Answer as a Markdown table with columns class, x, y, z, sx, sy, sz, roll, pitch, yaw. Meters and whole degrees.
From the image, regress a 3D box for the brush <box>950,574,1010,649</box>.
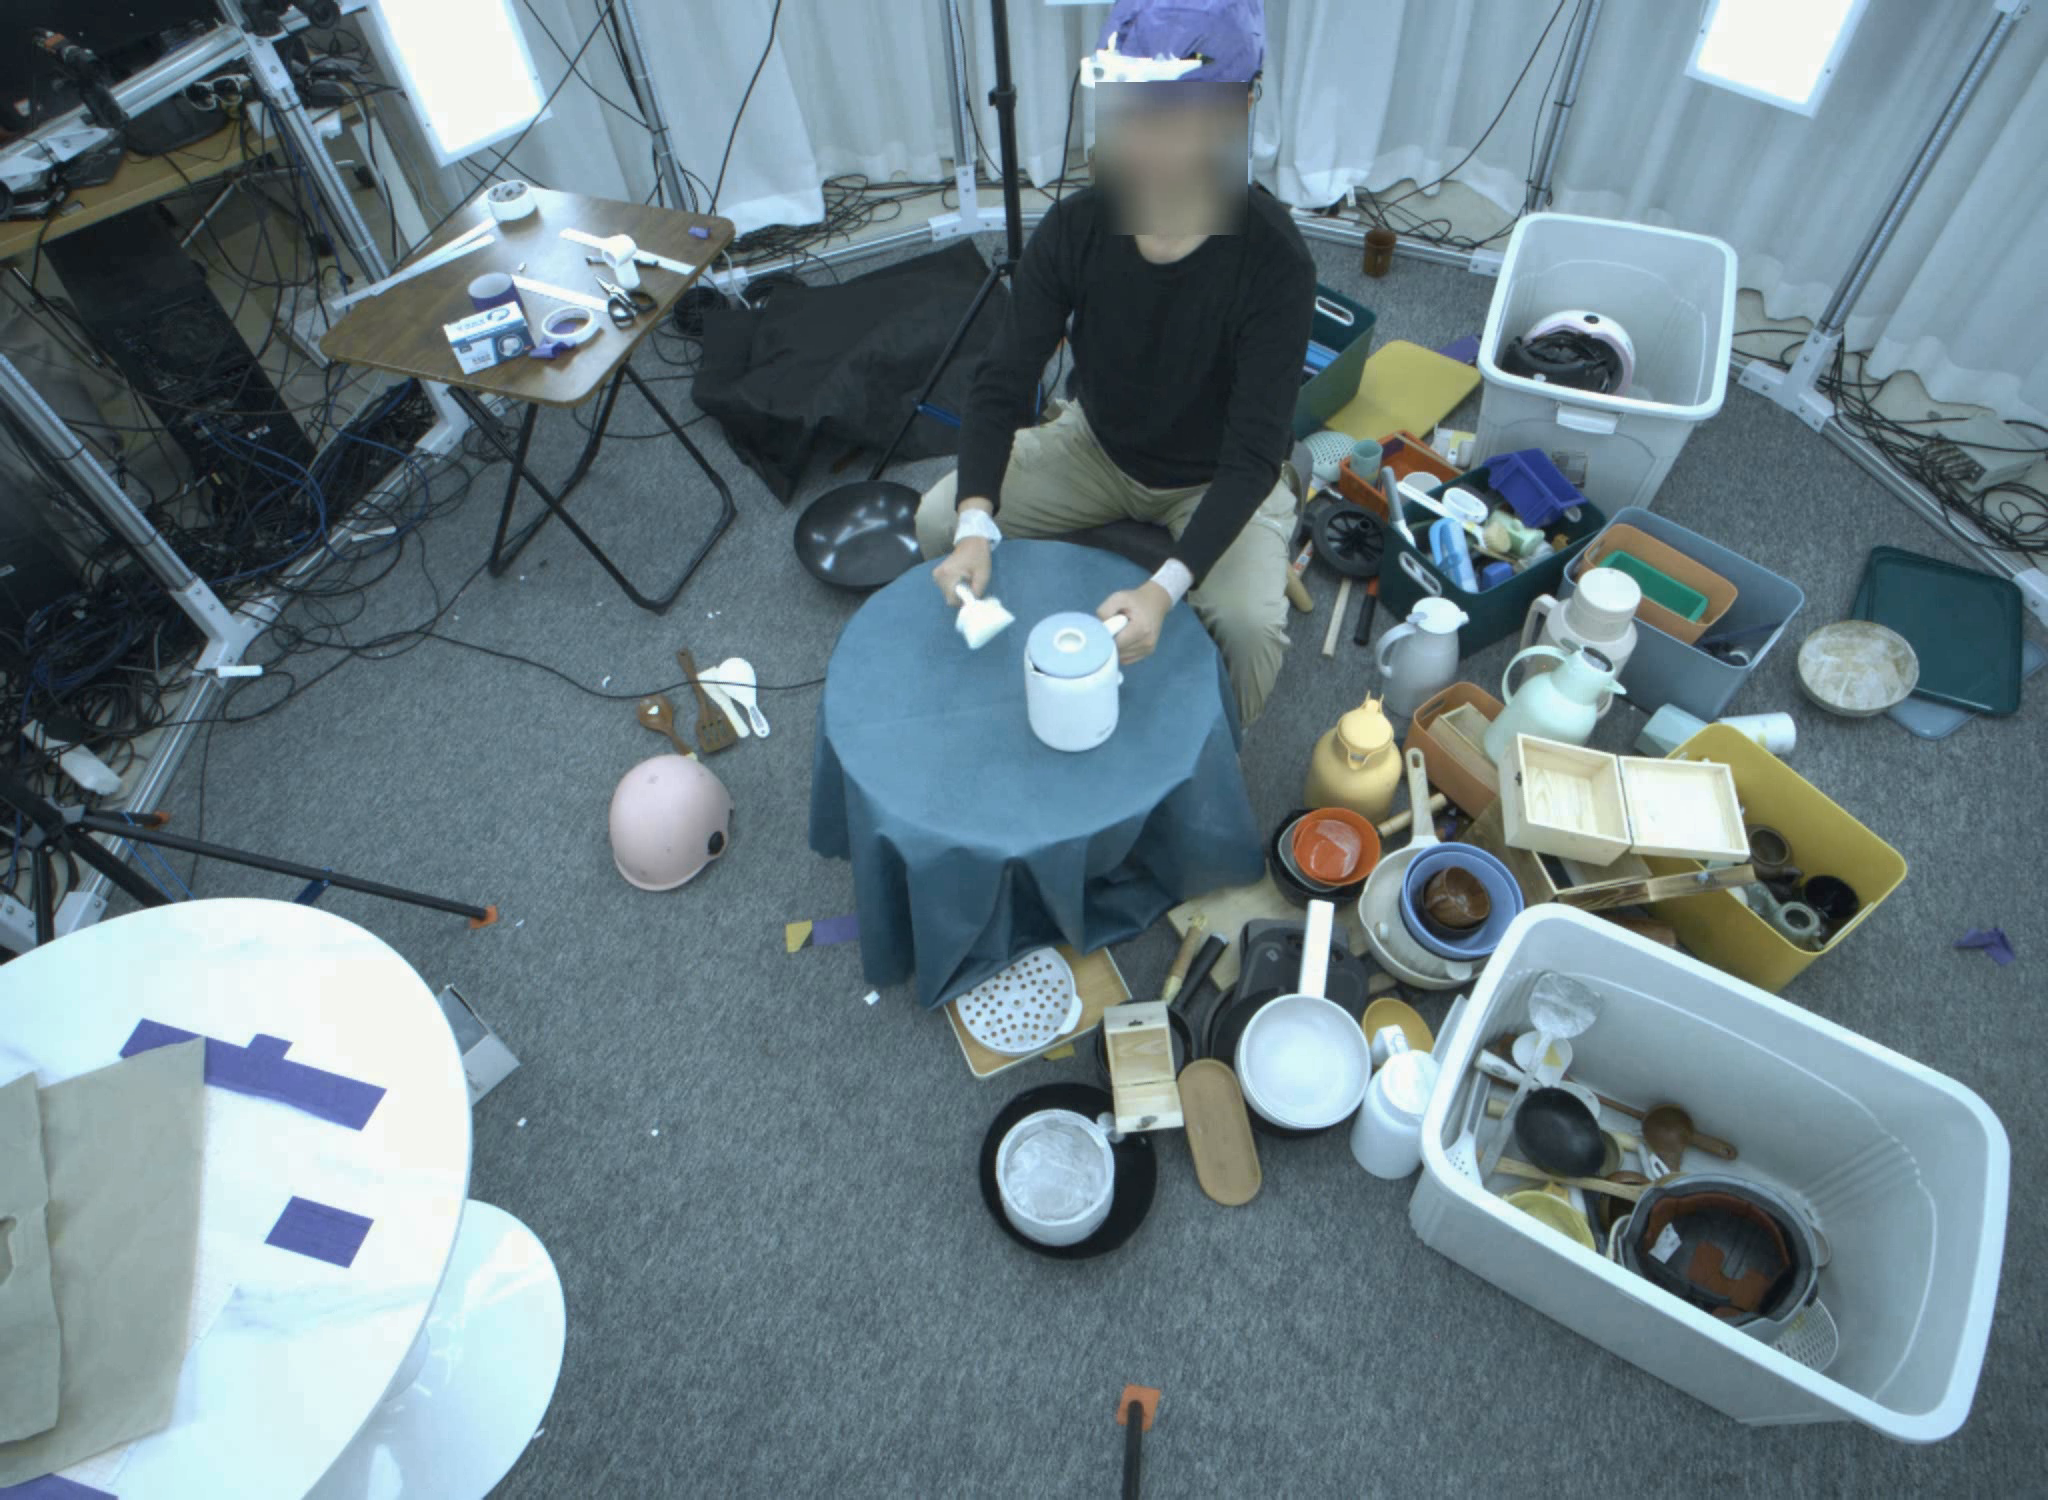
| class | x | y | z | sx | sy | sz | roll | pitch | yaw |
| --- | --- | --- | --- | --- | --- | --- | --- | --- | --- |
| brush | -0.064 | -0.199 | 1.783 | 0.083 | 0.085 | 0.323 | -1 | 14 | -2 |

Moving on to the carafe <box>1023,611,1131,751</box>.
| class | x | y | z | sx | sy | sz | roll | pitch | yaw |
| --- | --- | --- | --- | --- | --- | --- | --- | --- | --- |
| carafe | 0.085 | -0.111 | 1.758 | 0.192 | 0.184 | 0.130 | -39 | 62 | -23 |
